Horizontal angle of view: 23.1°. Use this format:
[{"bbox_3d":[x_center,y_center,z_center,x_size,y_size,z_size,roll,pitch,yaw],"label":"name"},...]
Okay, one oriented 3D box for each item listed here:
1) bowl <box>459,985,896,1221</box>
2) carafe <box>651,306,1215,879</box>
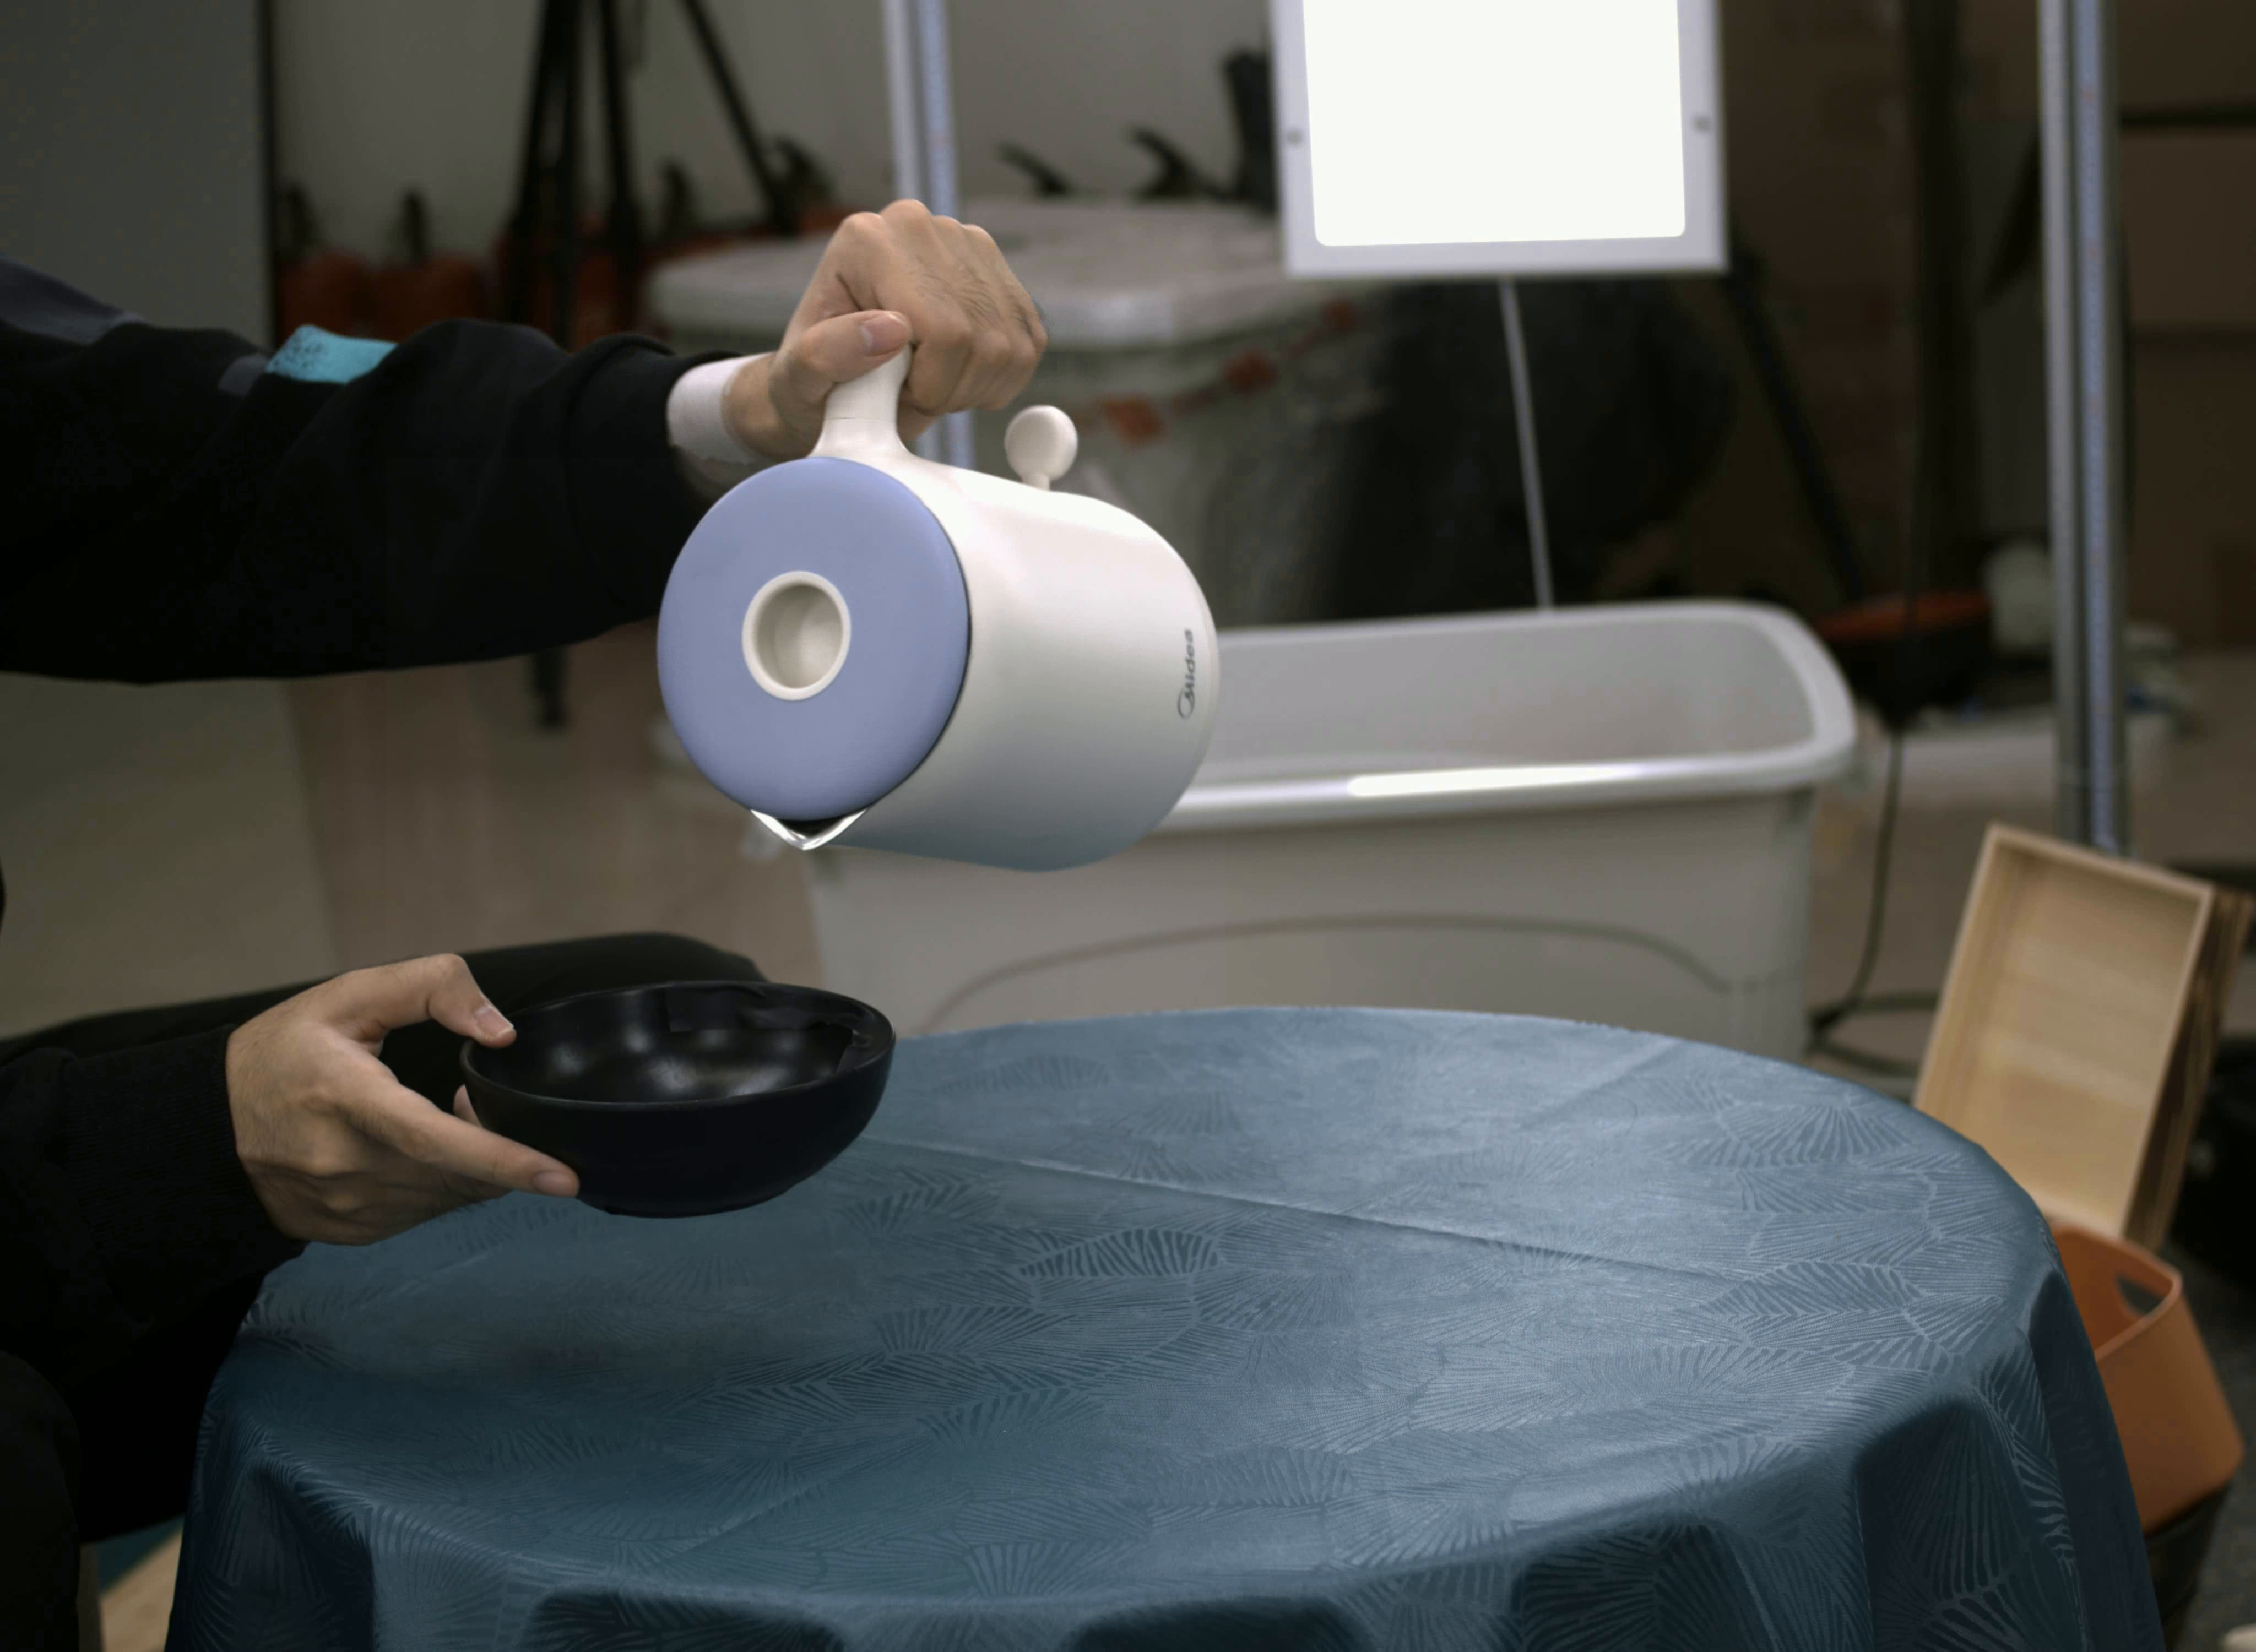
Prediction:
[{"bbox_3d":[-0.141,0.092,1.751,0.139,0.050,0.140,-4,13,0],"label":"bowl"},{"bbox_3d":[-0.063,-0.079,1.844,0.135,0.191,0.179,-3,-8,29],"label":"carafe"}]
